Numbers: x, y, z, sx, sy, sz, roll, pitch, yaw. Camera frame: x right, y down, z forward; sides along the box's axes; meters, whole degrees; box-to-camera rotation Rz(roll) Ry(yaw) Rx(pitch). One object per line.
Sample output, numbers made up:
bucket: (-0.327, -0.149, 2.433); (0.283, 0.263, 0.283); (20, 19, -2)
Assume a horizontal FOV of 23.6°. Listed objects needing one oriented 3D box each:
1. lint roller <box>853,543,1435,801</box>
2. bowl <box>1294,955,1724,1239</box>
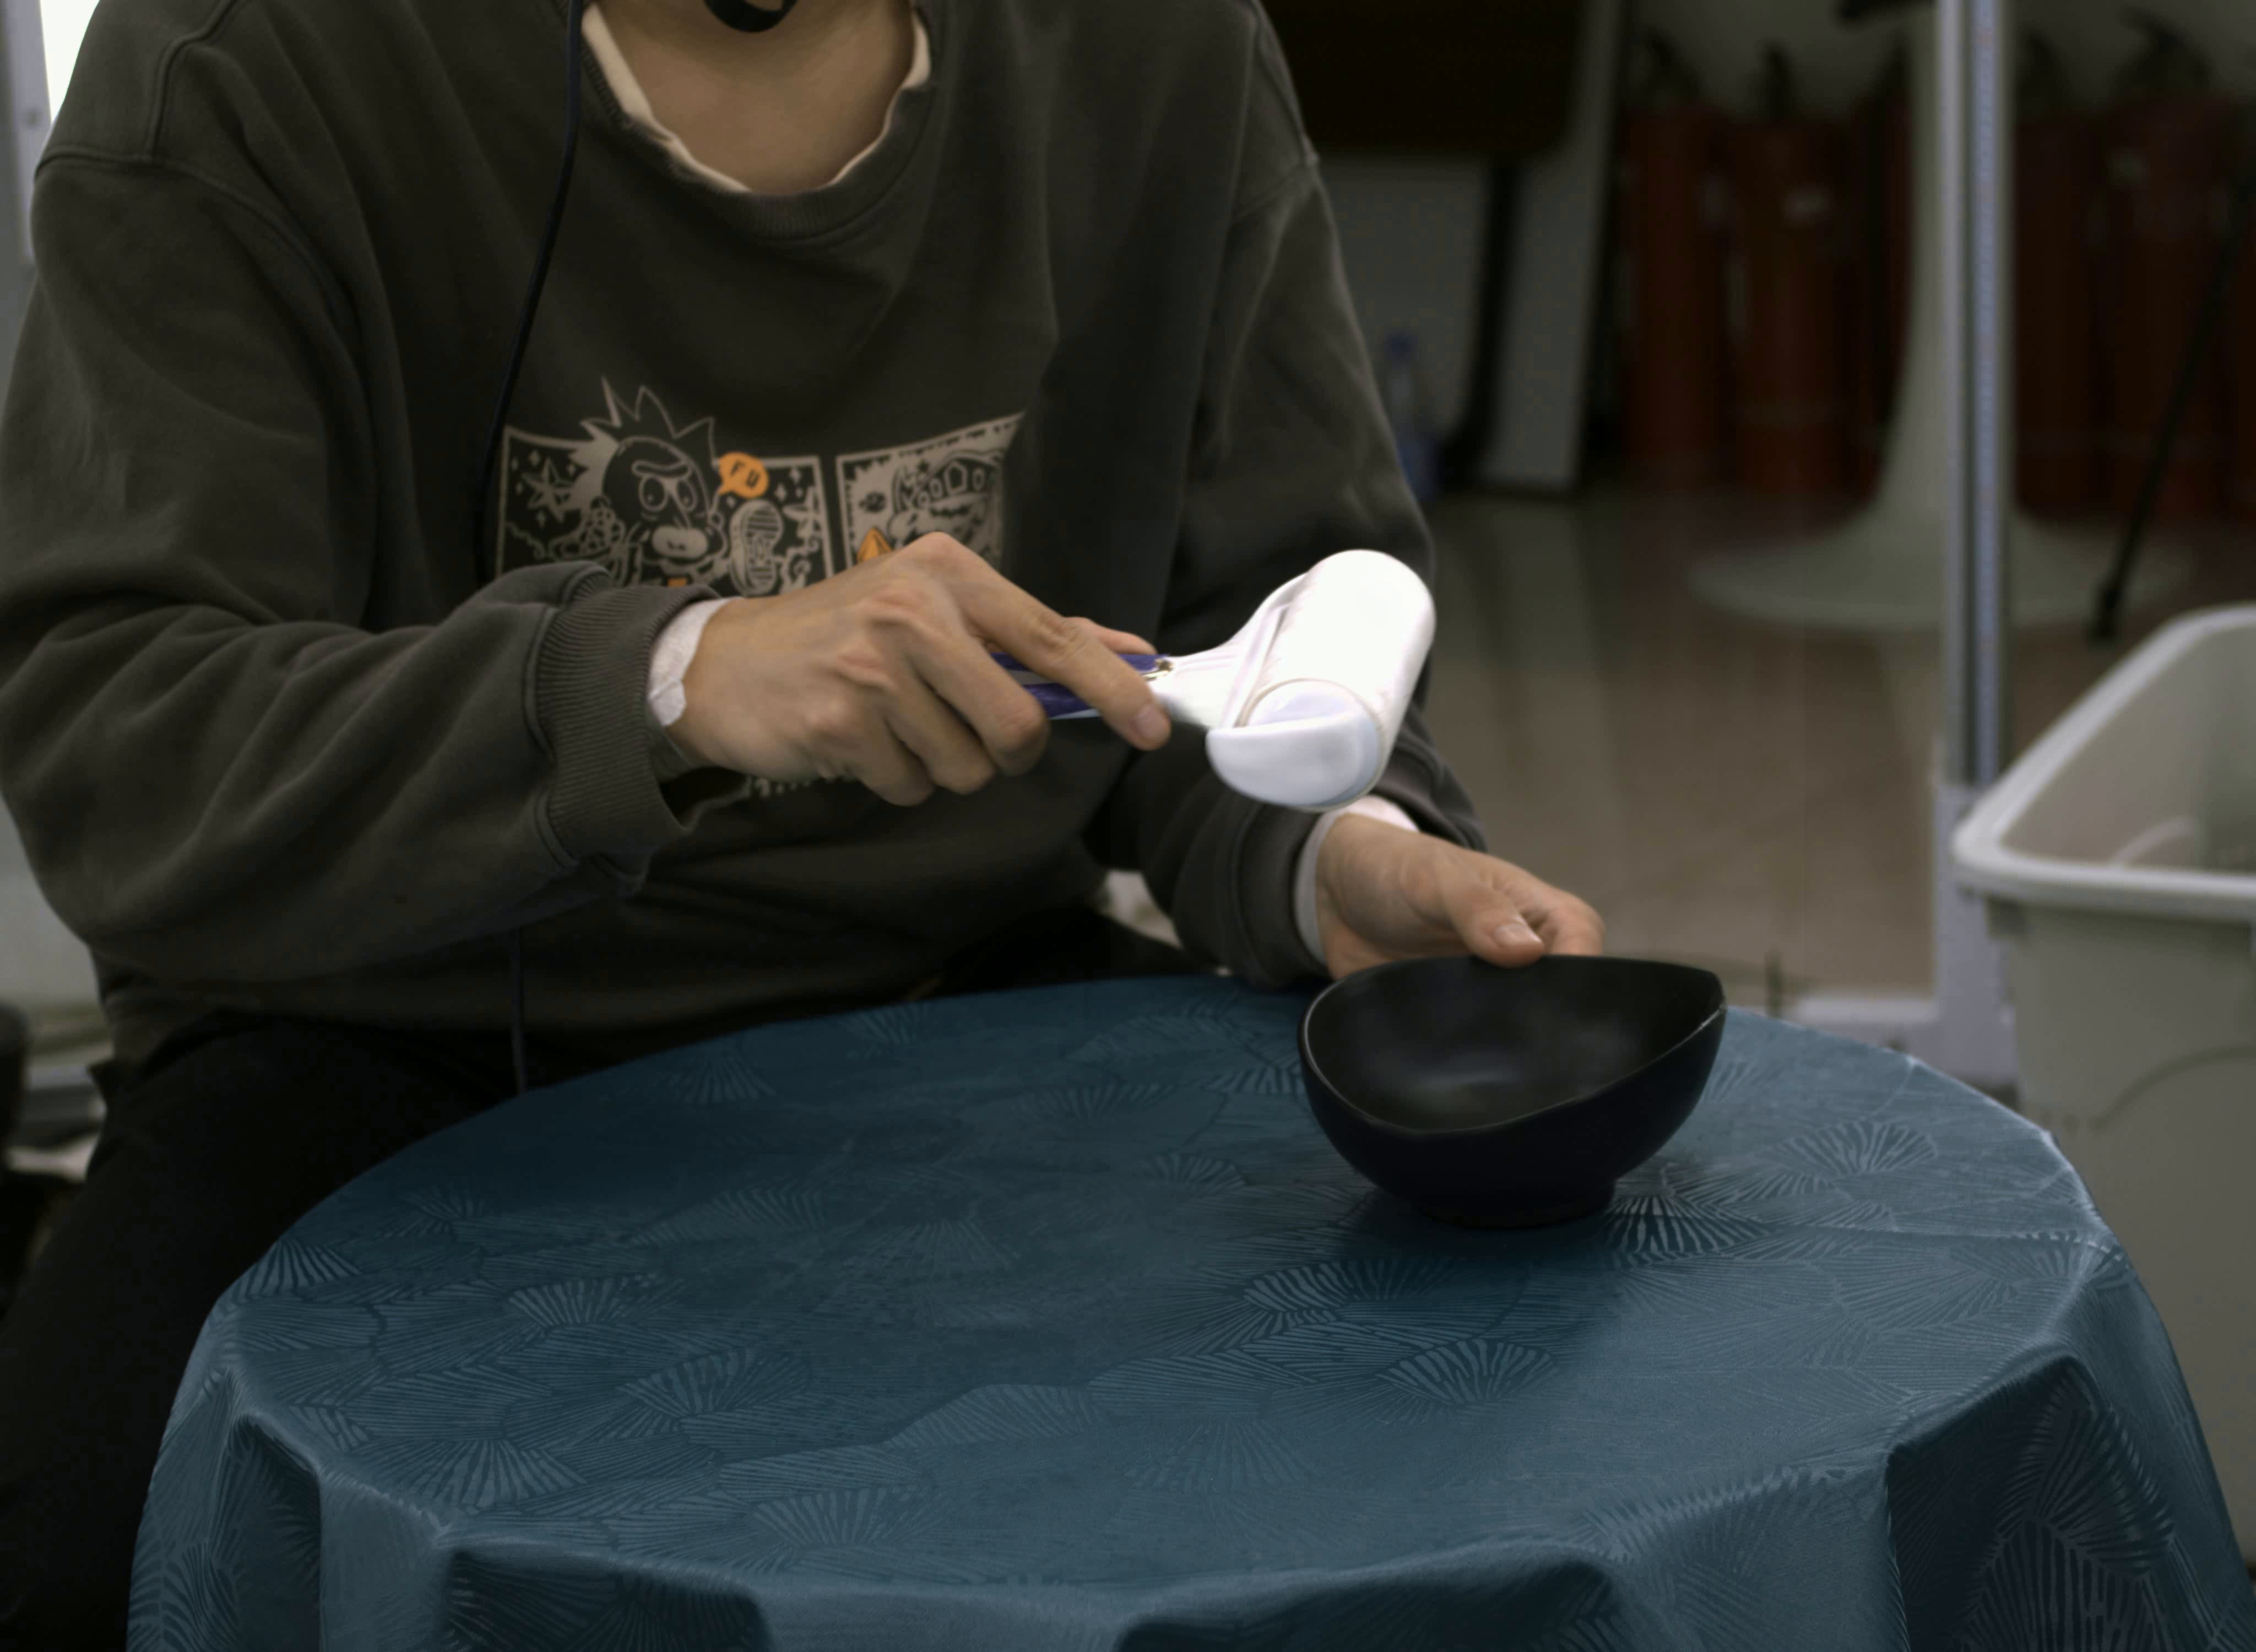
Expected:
lint roller: (0.002, -0.055, 1.675); (0.180, 0.050, 0.132); (7, 26, 12)
bowl: (0.124, 0.091, 1.731); (0.137, 0.067, 0.168); (0, 16, 21)
